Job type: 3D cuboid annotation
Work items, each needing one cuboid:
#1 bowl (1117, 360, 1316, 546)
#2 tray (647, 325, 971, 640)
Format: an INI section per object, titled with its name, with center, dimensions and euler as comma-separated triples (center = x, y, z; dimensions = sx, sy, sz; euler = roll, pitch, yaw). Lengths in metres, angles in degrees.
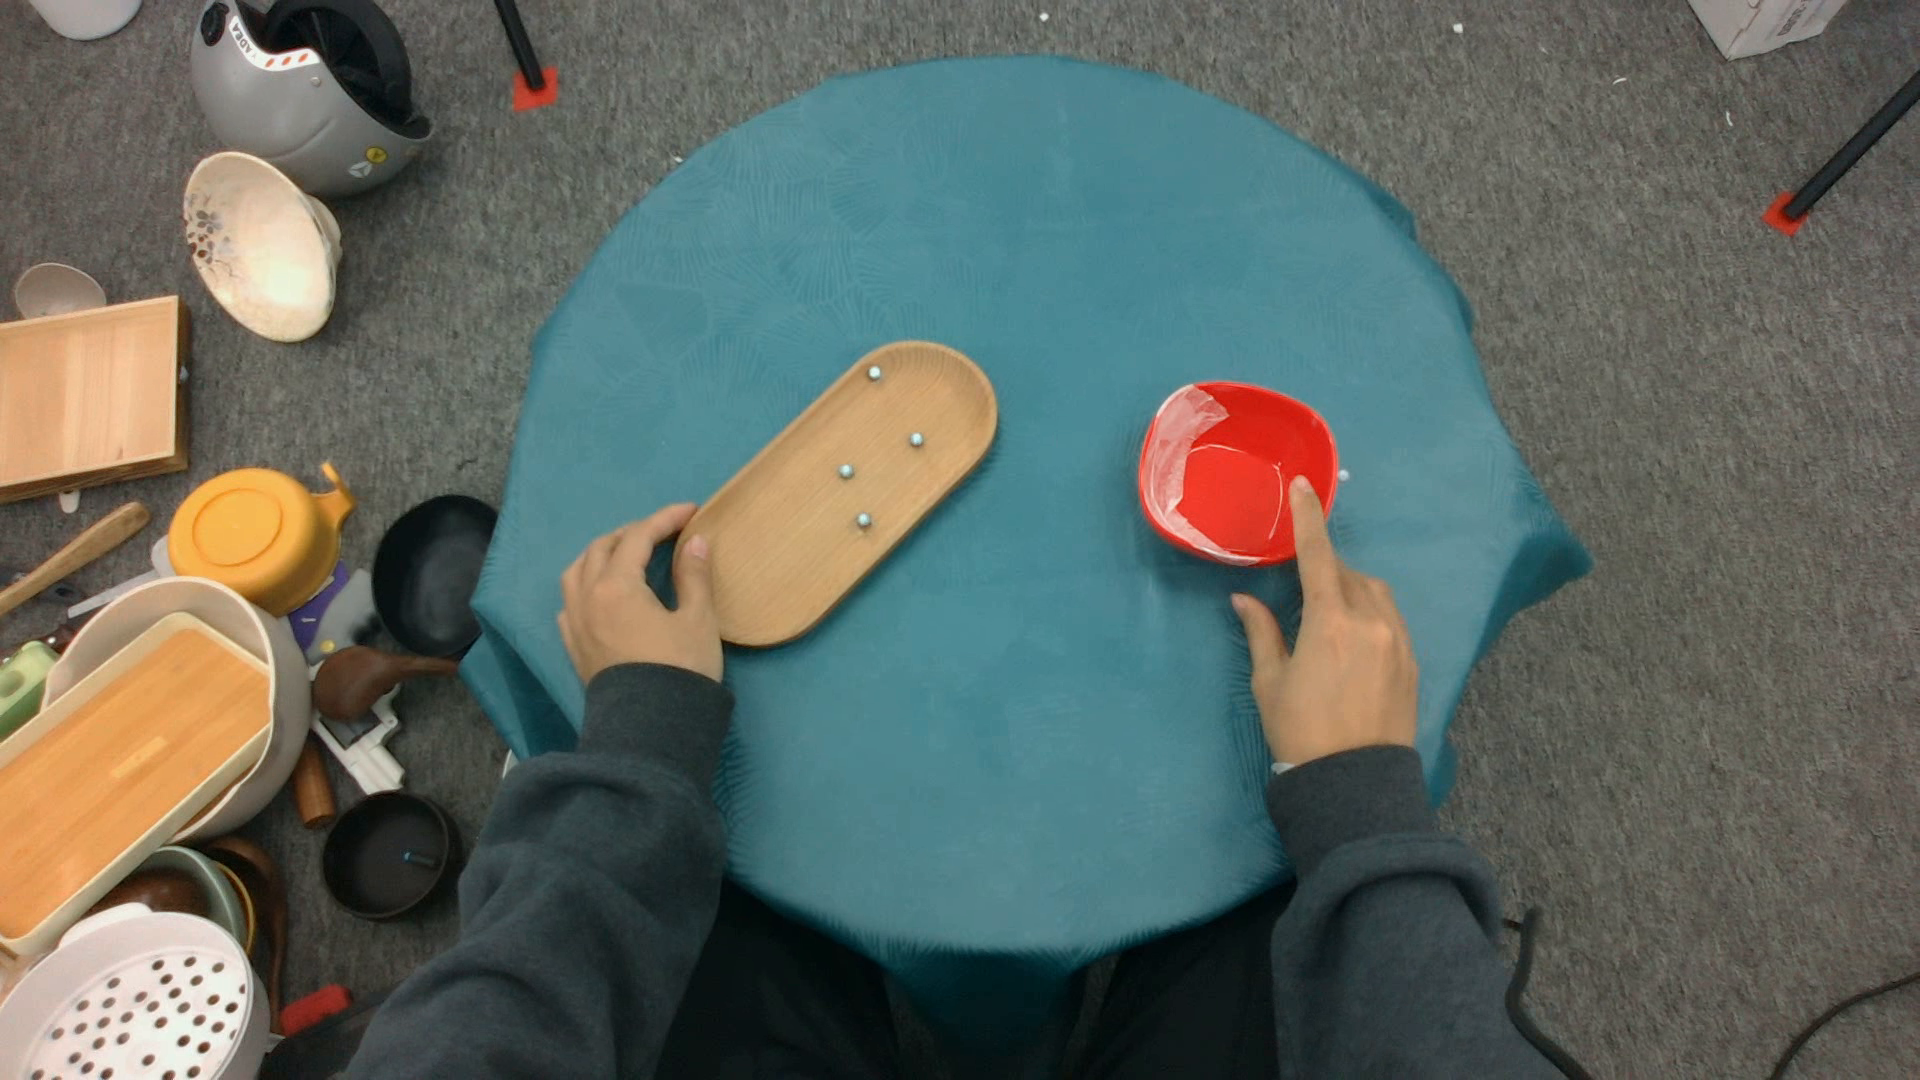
[bowl]
center = 0.144, -0.043, 0.797
dimensions = 0.119, 0.051, 0.119
euler = 1, 67, -1
[tray]
center = -0.086, -0.037, 0.813
dimensions = 0.102, 0.020, 0.232
euler = 38, 73, 15
